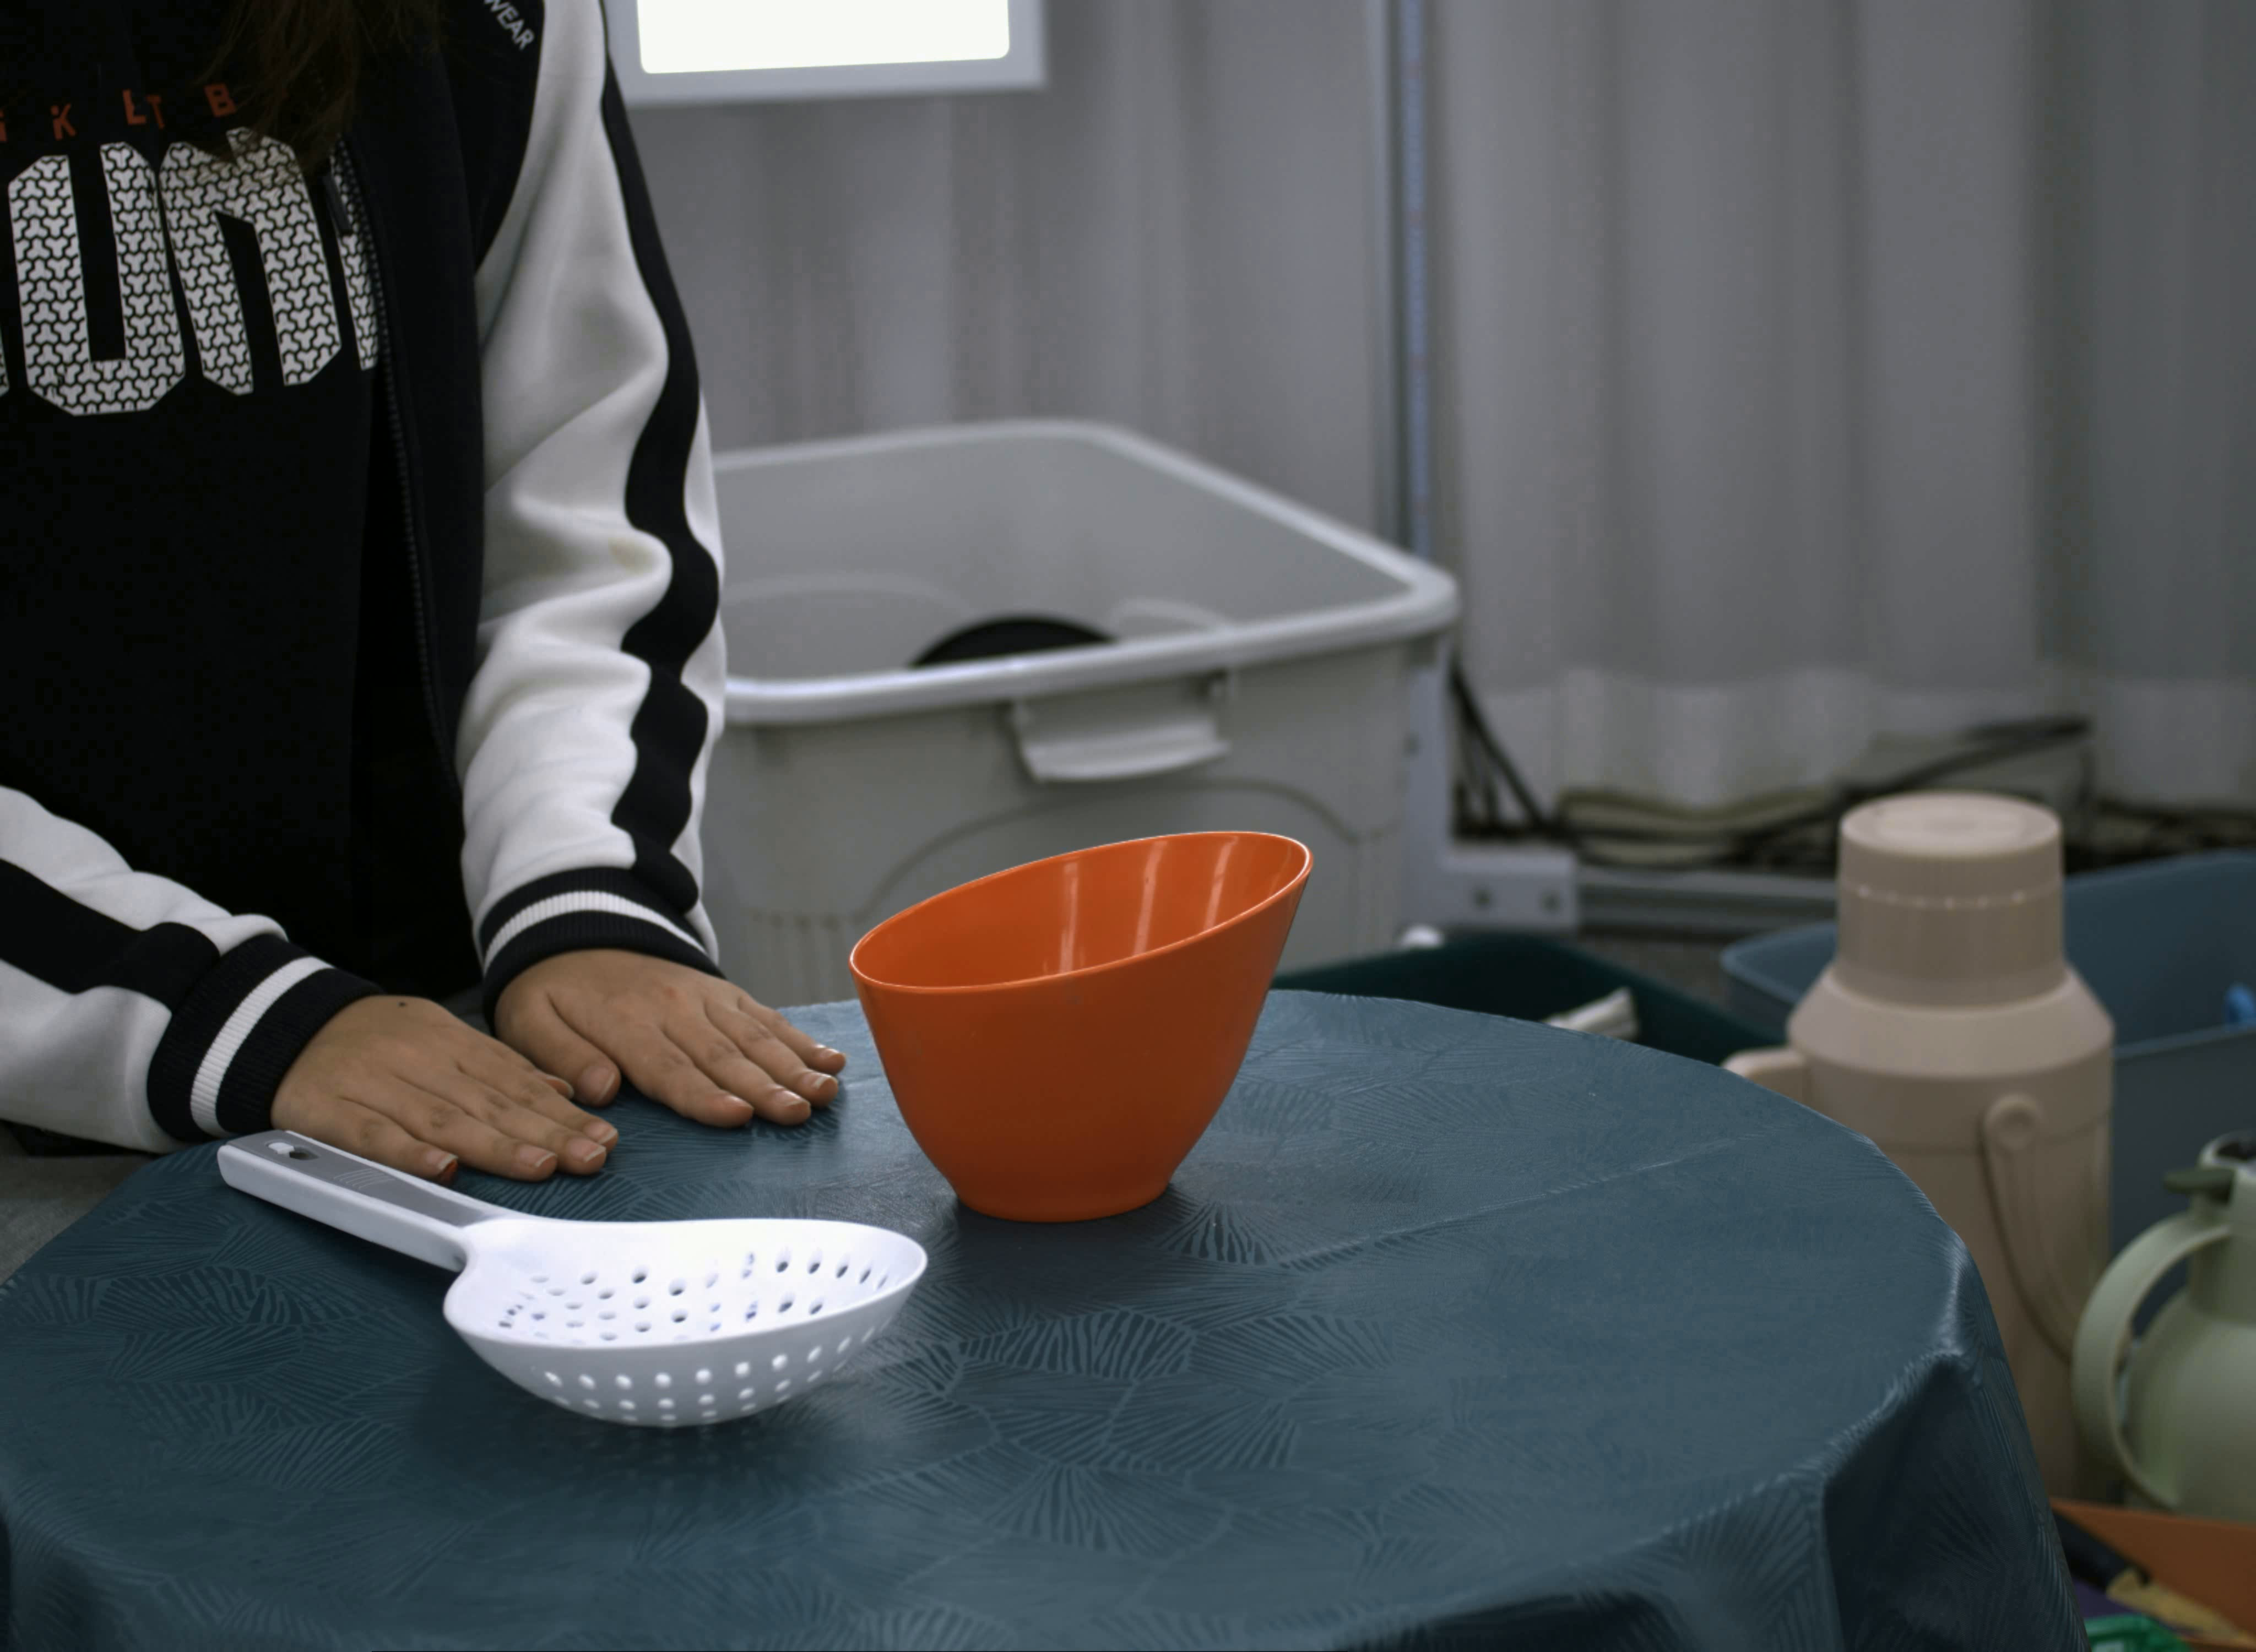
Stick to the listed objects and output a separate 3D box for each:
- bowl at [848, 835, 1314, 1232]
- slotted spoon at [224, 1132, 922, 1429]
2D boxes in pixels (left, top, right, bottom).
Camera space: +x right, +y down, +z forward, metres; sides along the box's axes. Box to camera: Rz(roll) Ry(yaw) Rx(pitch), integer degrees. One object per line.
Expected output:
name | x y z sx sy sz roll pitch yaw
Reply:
bowl | -0.012 0.067 1.706 0.147 0.104 0.149 -4 16 1
slotted spoon | -0.185 0.125 1.625 0.135 0.045 0.352 -11 16 -33
